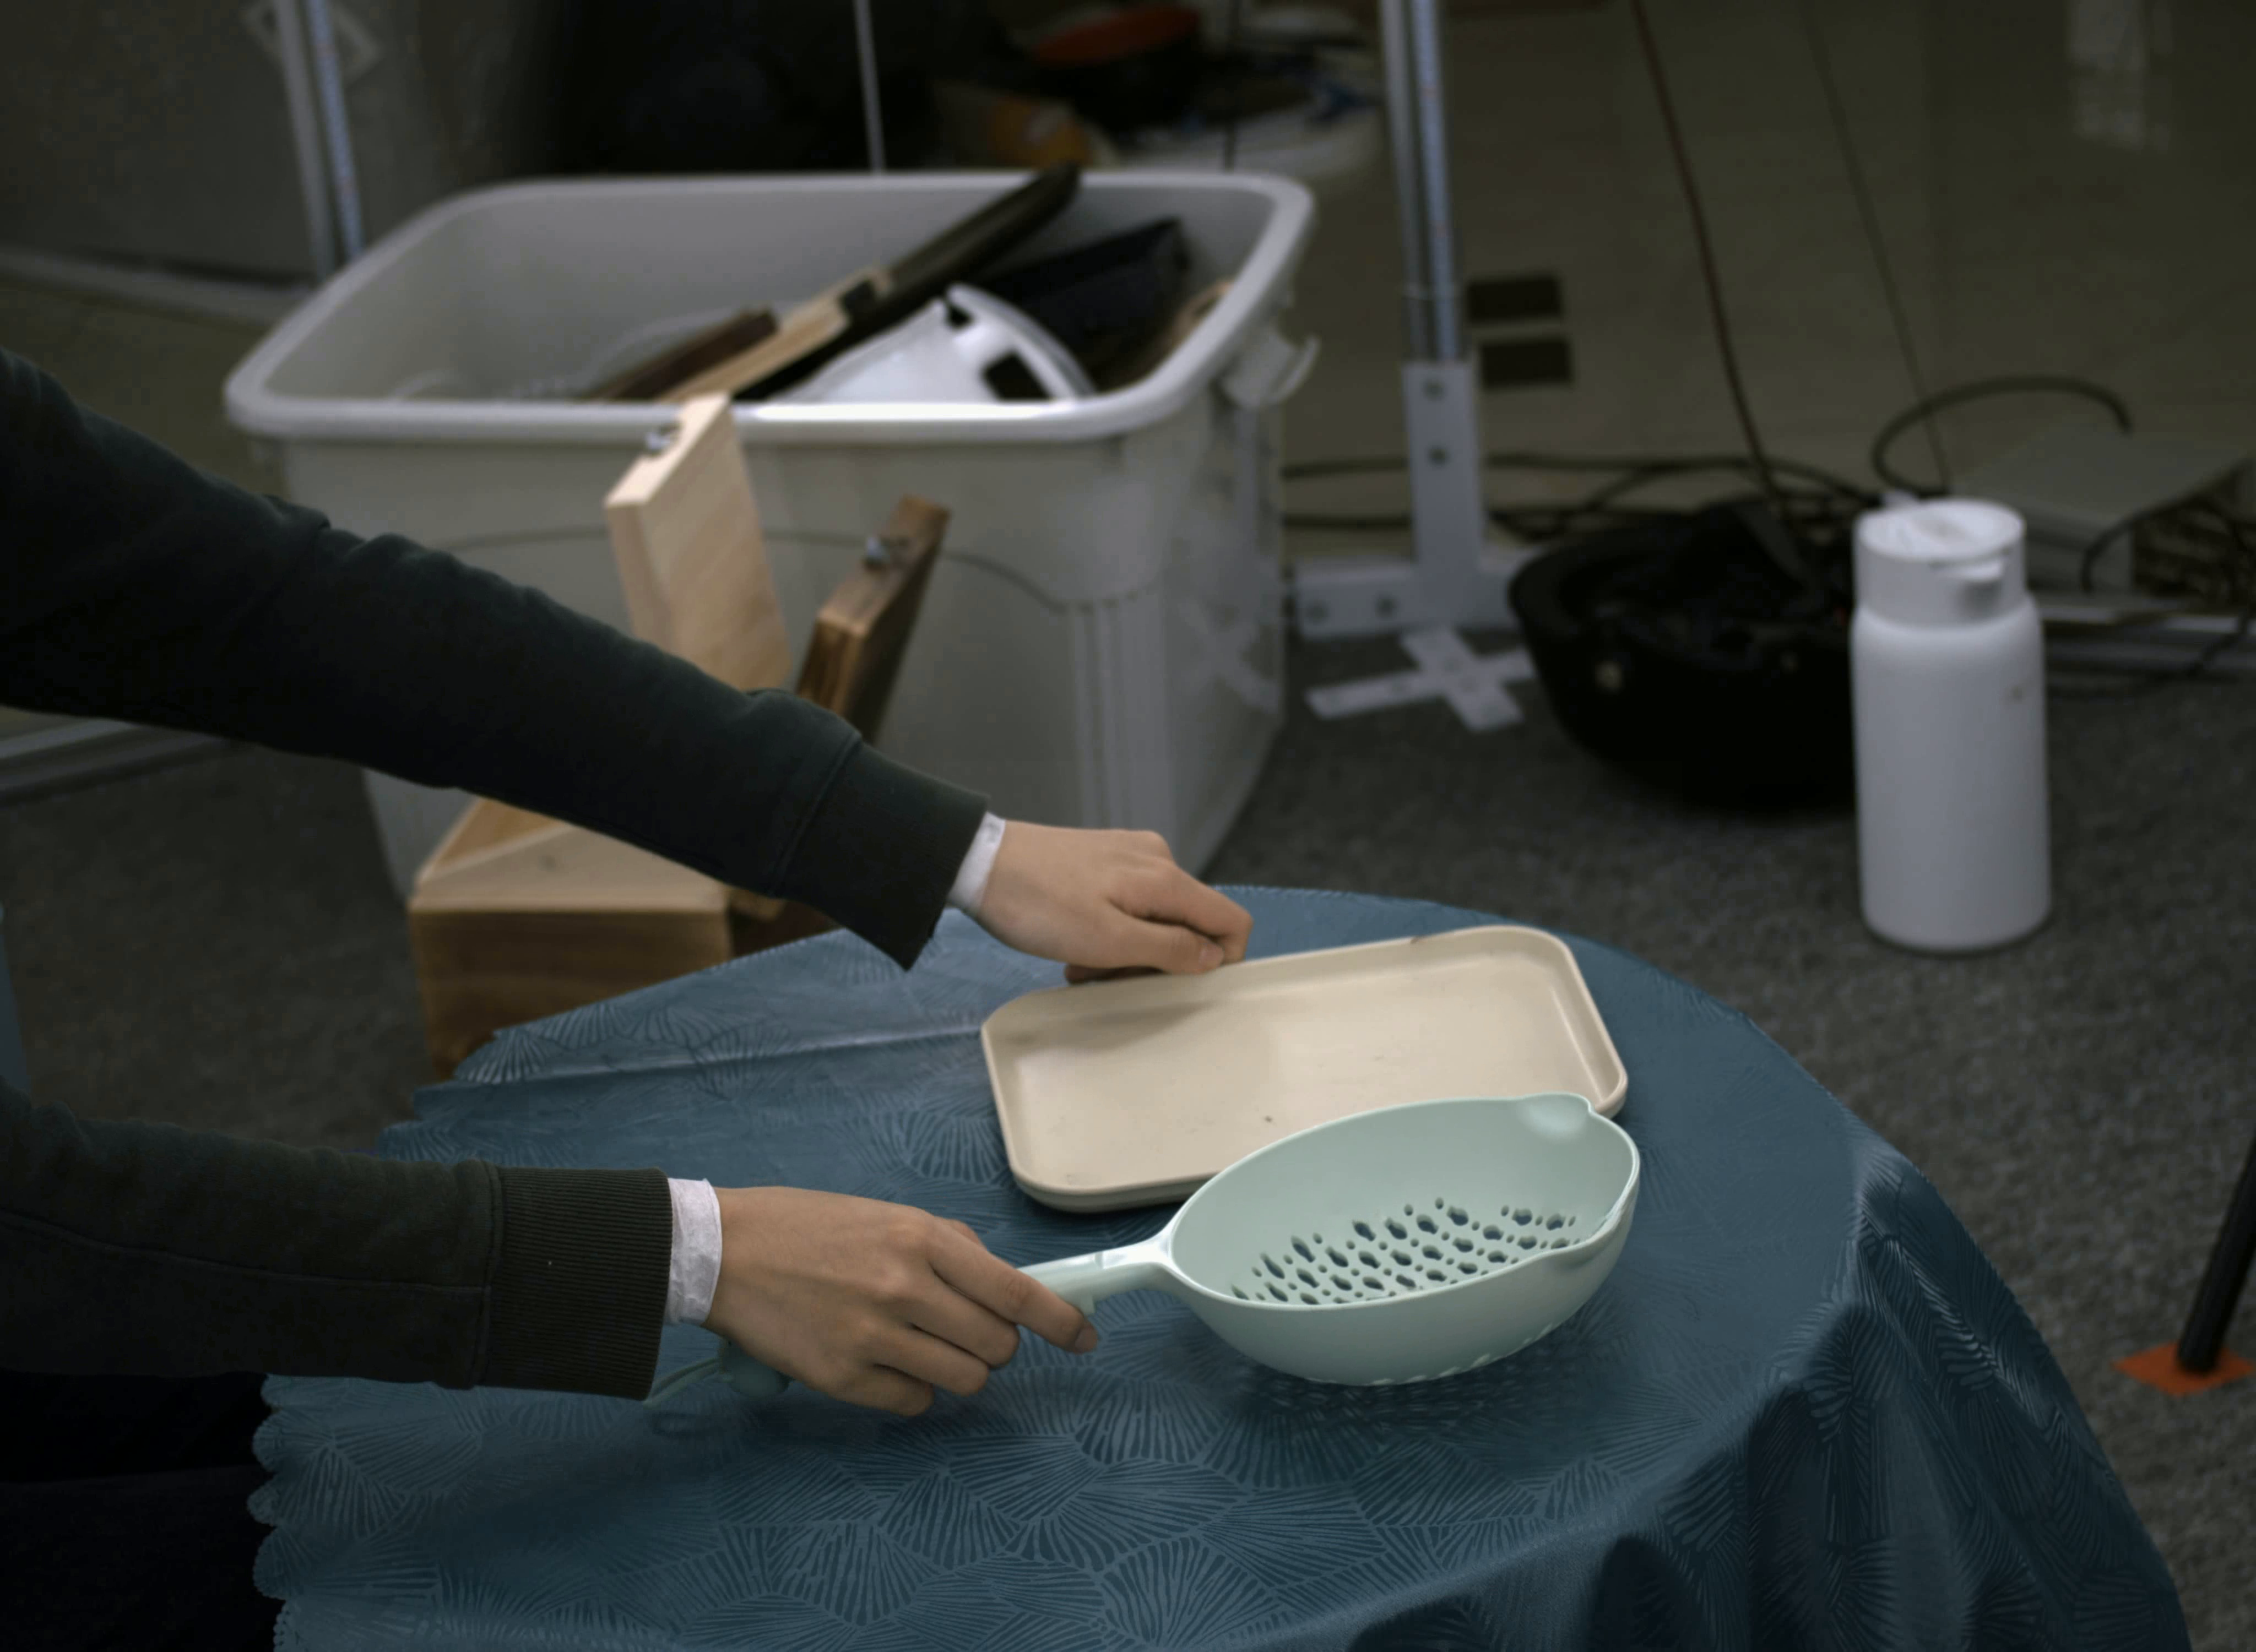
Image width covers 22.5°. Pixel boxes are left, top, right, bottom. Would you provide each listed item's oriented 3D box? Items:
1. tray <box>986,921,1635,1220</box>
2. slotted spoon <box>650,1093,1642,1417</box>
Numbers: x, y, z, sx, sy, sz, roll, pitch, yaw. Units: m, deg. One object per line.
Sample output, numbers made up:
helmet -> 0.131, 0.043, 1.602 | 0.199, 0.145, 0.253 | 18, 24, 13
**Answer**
tray -> 0.069, 0.096, 2.205 | 0.239, 0.018, 0.169 | -9, 27, -4
slotted spoon -> 0.005, 0.163, 2.016 | 0.358, 0.076, 0.167 | -4, 19, 2
